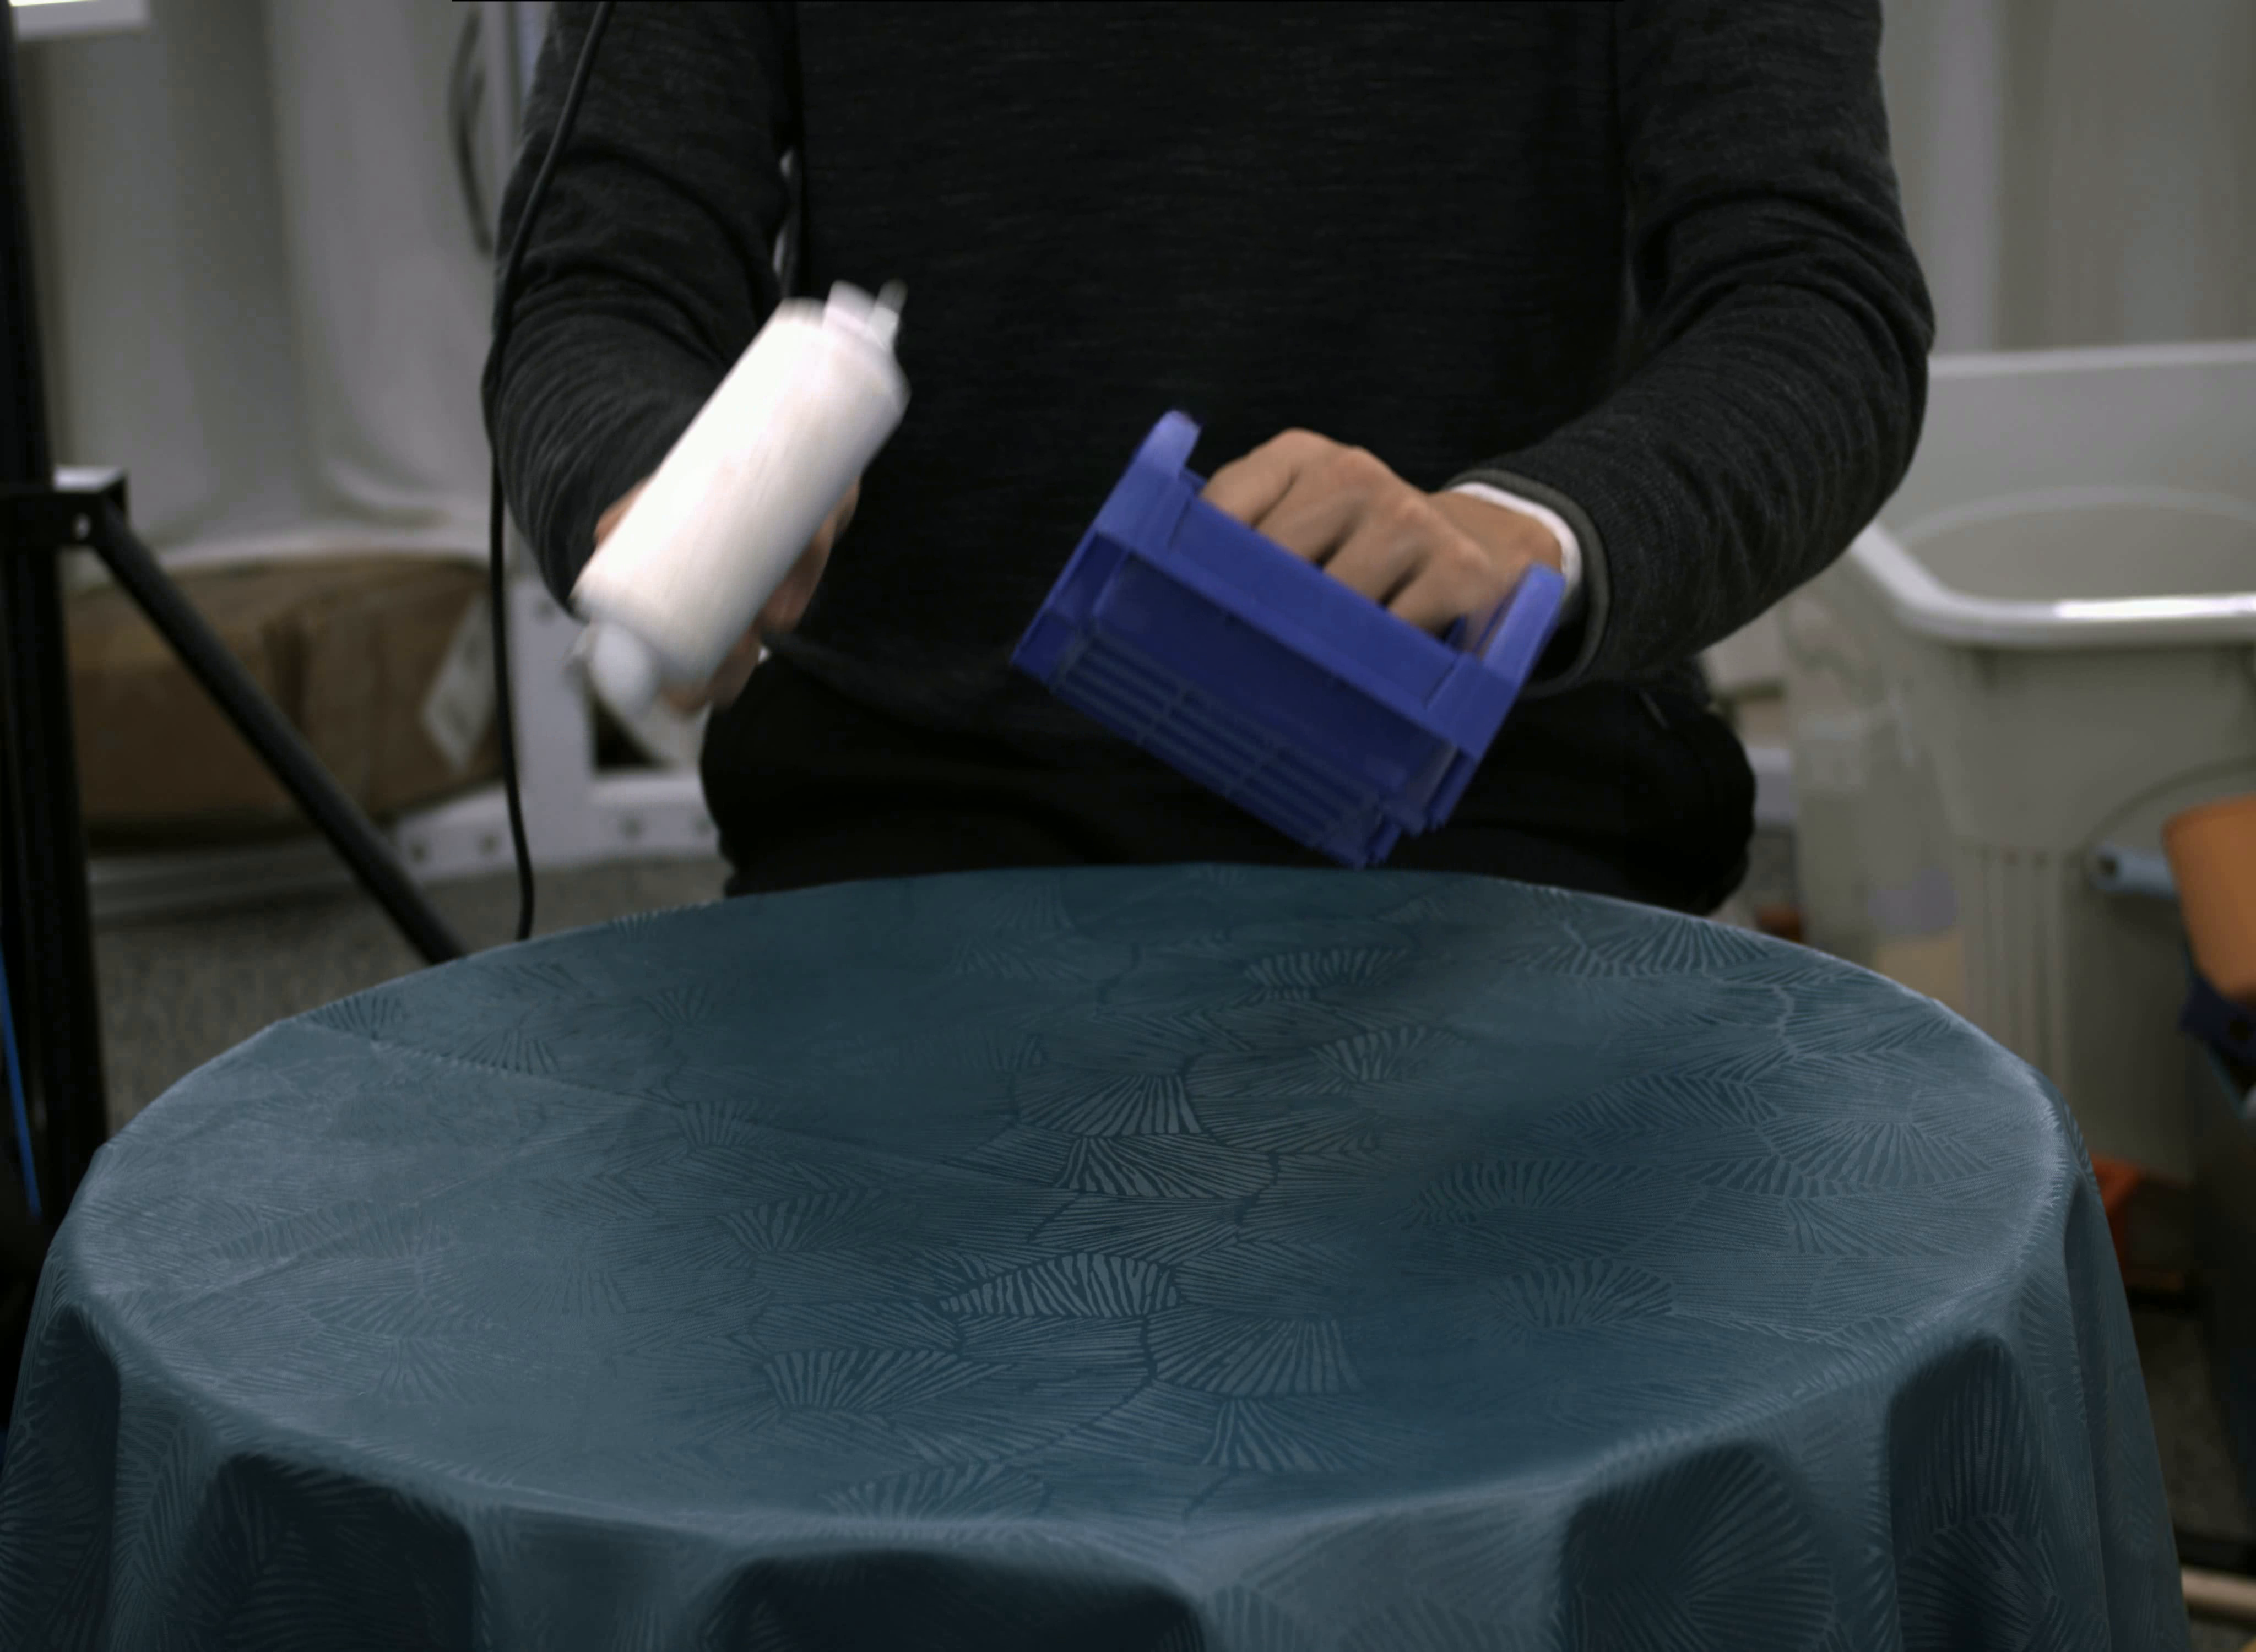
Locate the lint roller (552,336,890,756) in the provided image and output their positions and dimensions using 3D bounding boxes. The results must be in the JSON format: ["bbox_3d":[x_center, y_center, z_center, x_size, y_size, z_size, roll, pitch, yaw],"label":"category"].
[{"bbox_3d":[-0.128,-0.077,1.572,0.050,0.133,0.182,37,-8,-9],"label":"lint roller"}]

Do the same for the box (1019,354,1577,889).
[{"bbox_3d":[0.048,-0.054,1.489,0.124,0.082,0.179,31,-11,0],"label":"box"}]
